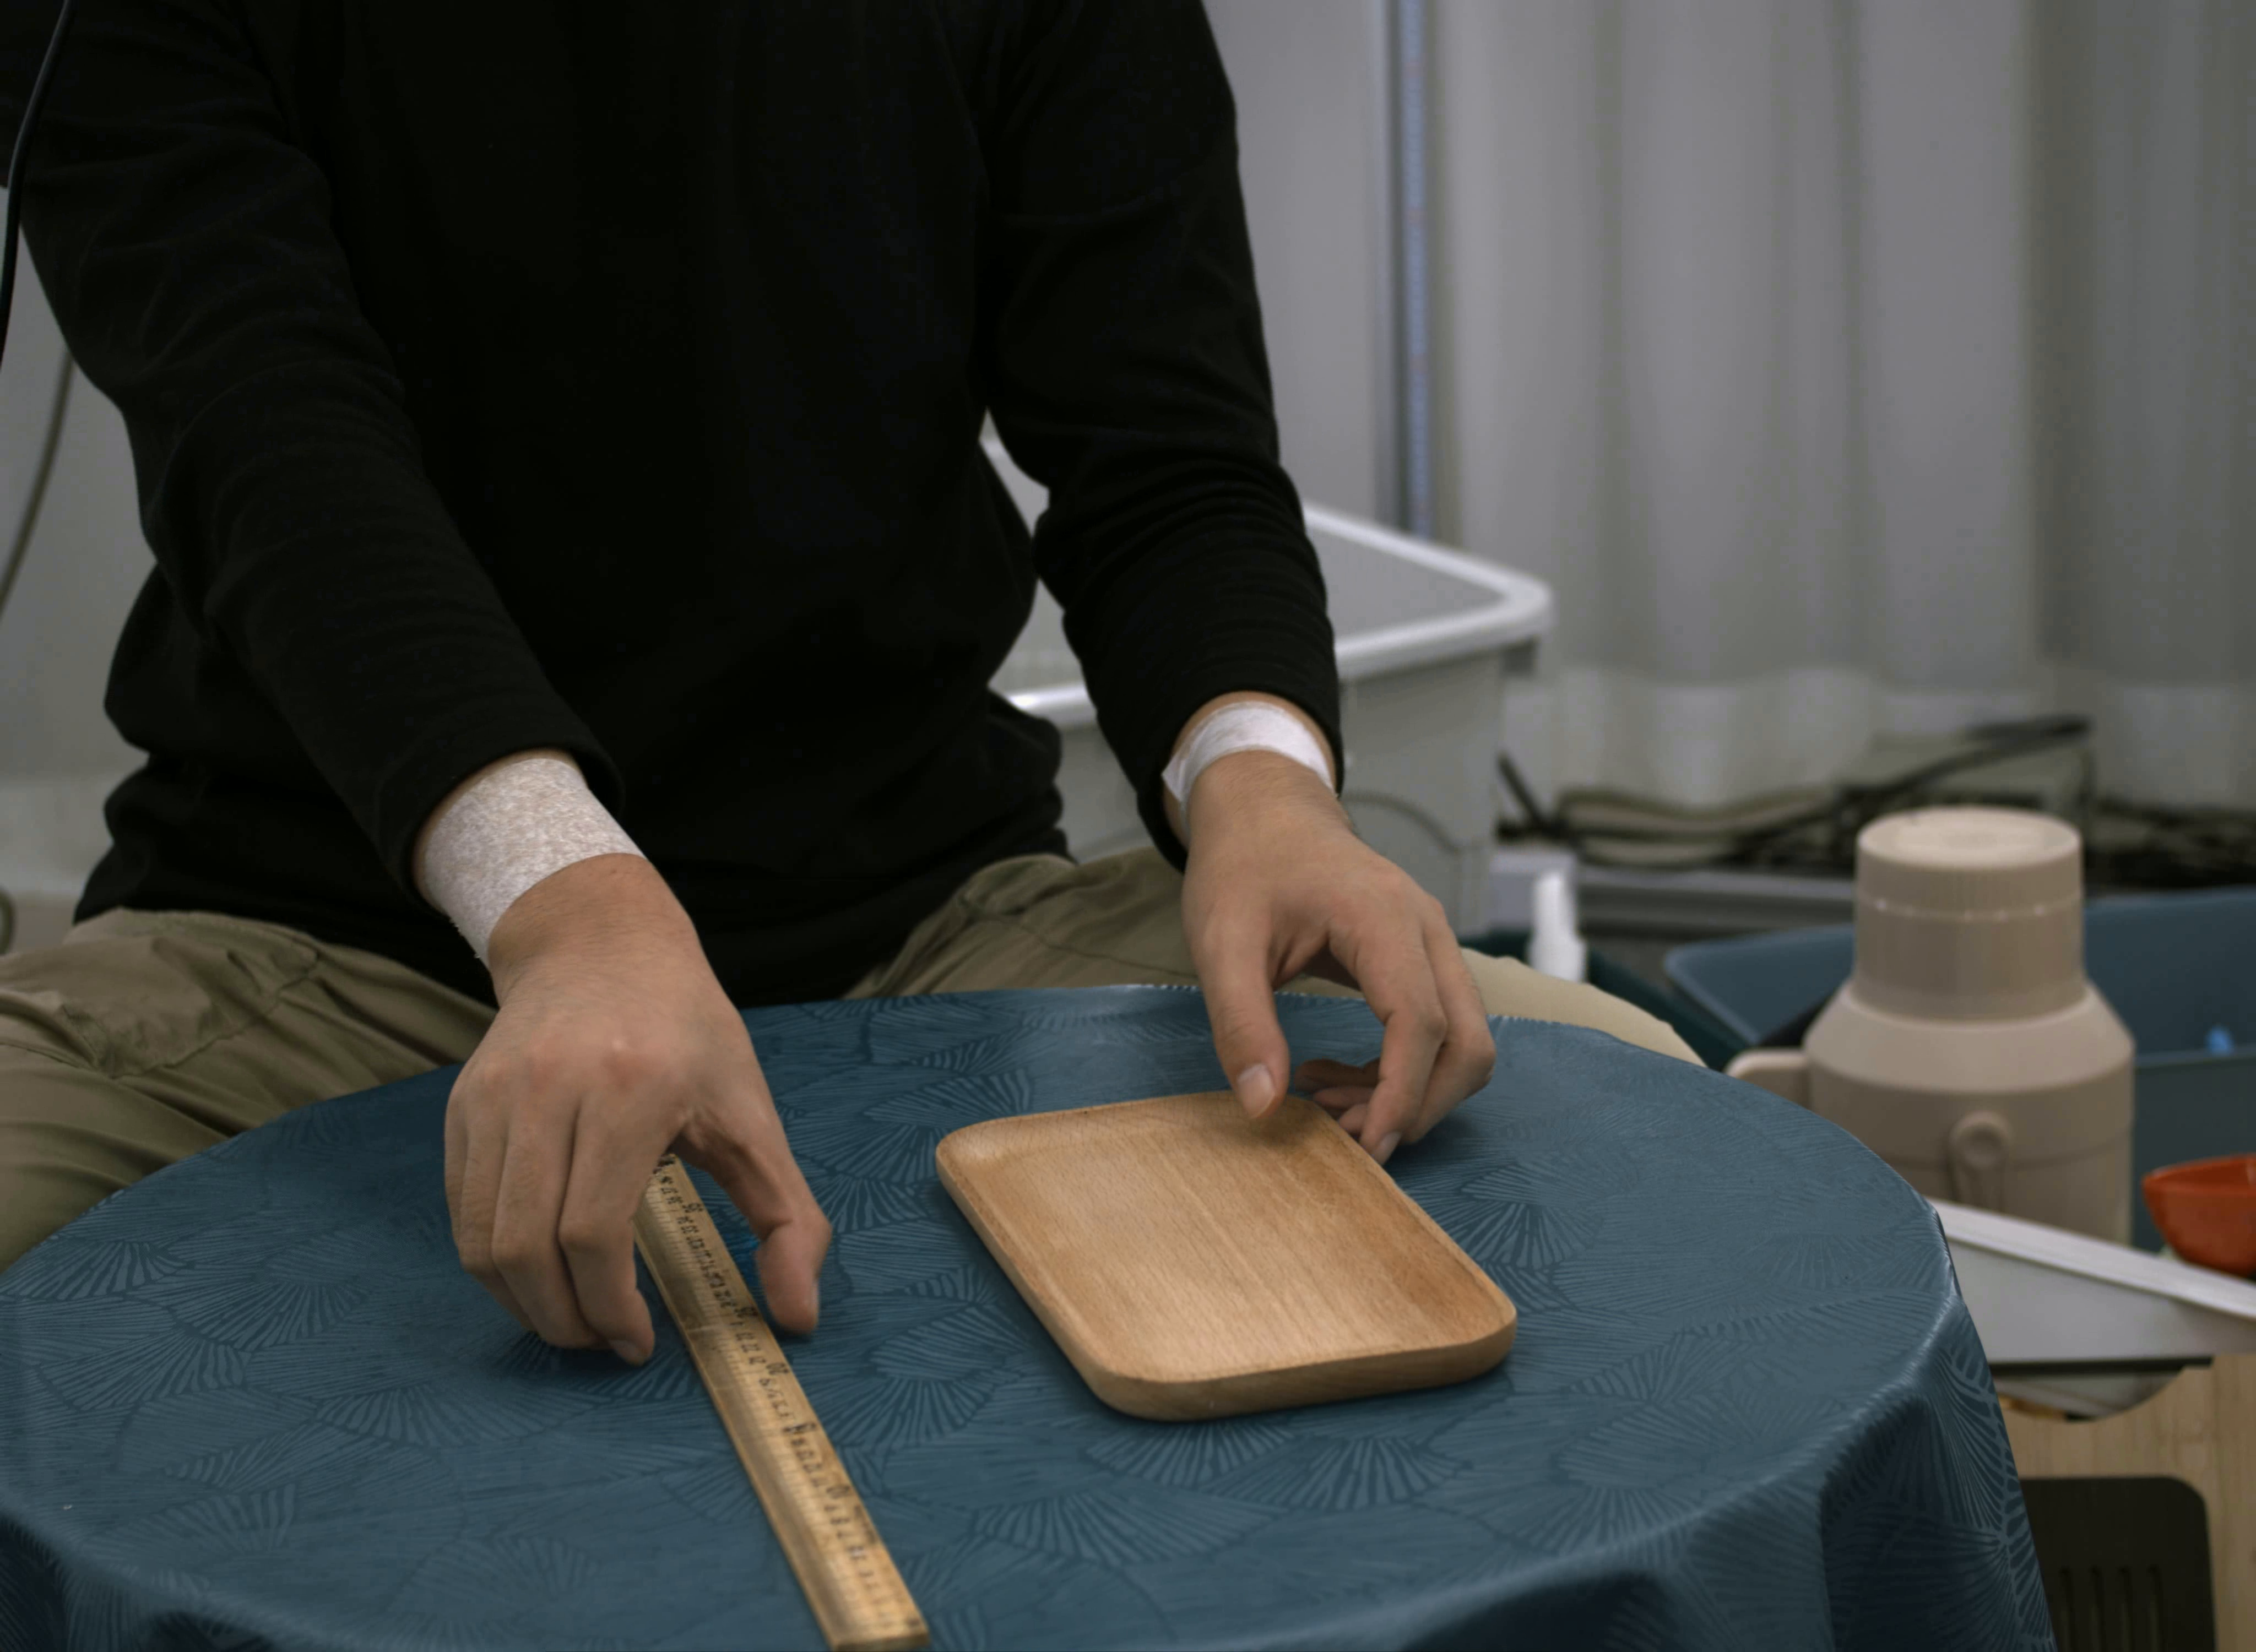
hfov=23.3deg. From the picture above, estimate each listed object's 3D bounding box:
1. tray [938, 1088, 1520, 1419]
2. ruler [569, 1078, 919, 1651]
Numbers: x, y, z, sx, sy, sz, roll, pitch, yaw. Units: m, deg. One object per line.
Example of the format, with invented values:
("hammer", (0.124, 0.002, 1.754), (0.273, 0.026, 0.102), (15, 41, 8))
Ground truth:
("tray", (0.026, 0.125, 1.637), (0.130, 0.023, 0.252), (-4, 14, -12))
("ruler", (-0.119, 0.147, 1.607), (0.026, 0.006, 0.504), (-4, 15, -12))
